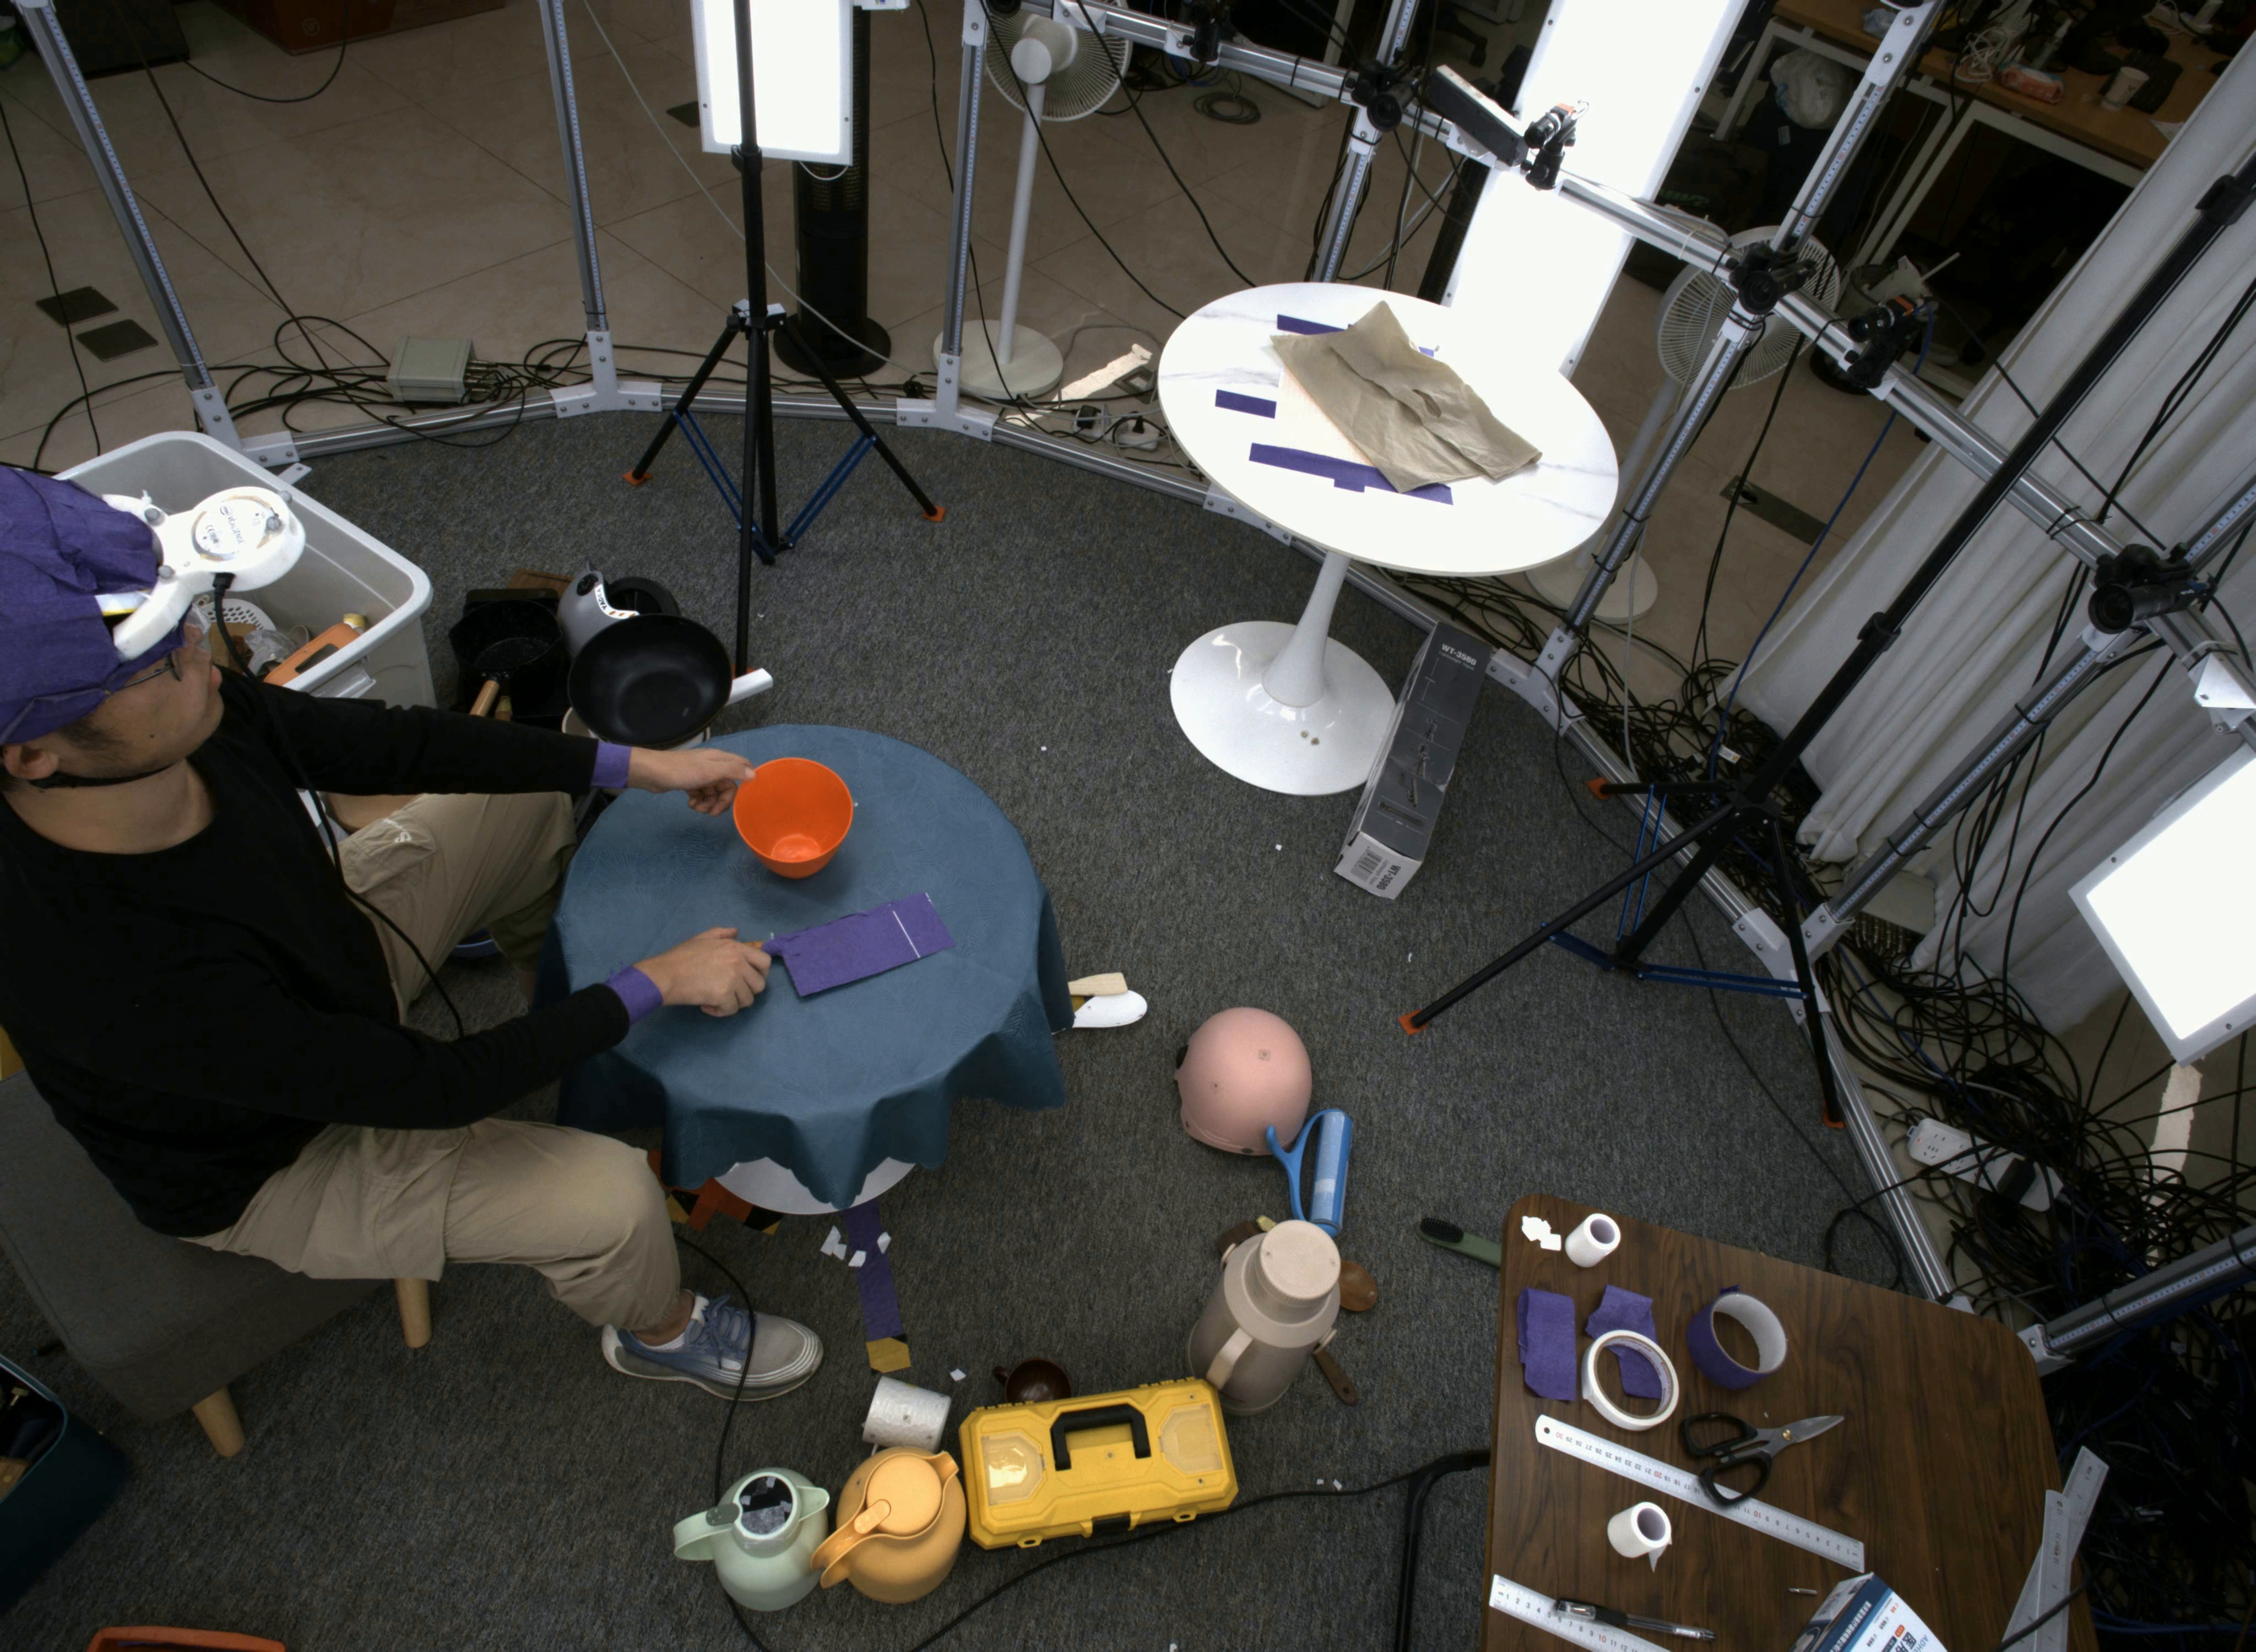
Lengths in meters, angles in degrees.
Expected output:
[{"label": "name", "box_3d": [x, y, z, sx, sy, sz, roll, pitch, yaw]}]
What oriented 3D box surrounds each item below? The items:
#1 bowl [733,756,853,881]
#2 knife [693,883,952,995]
[{"label": "bowl", "box_3d": [-0.426, 0.002, 1.655, 0.148, 0.106, 0.145, 8, 52, -9]}, {"label": "knife", "box_3d": [-0.371, 0.153, 1.603, 0.317, 0.033, 0.101, -20, 60, -27]}]
